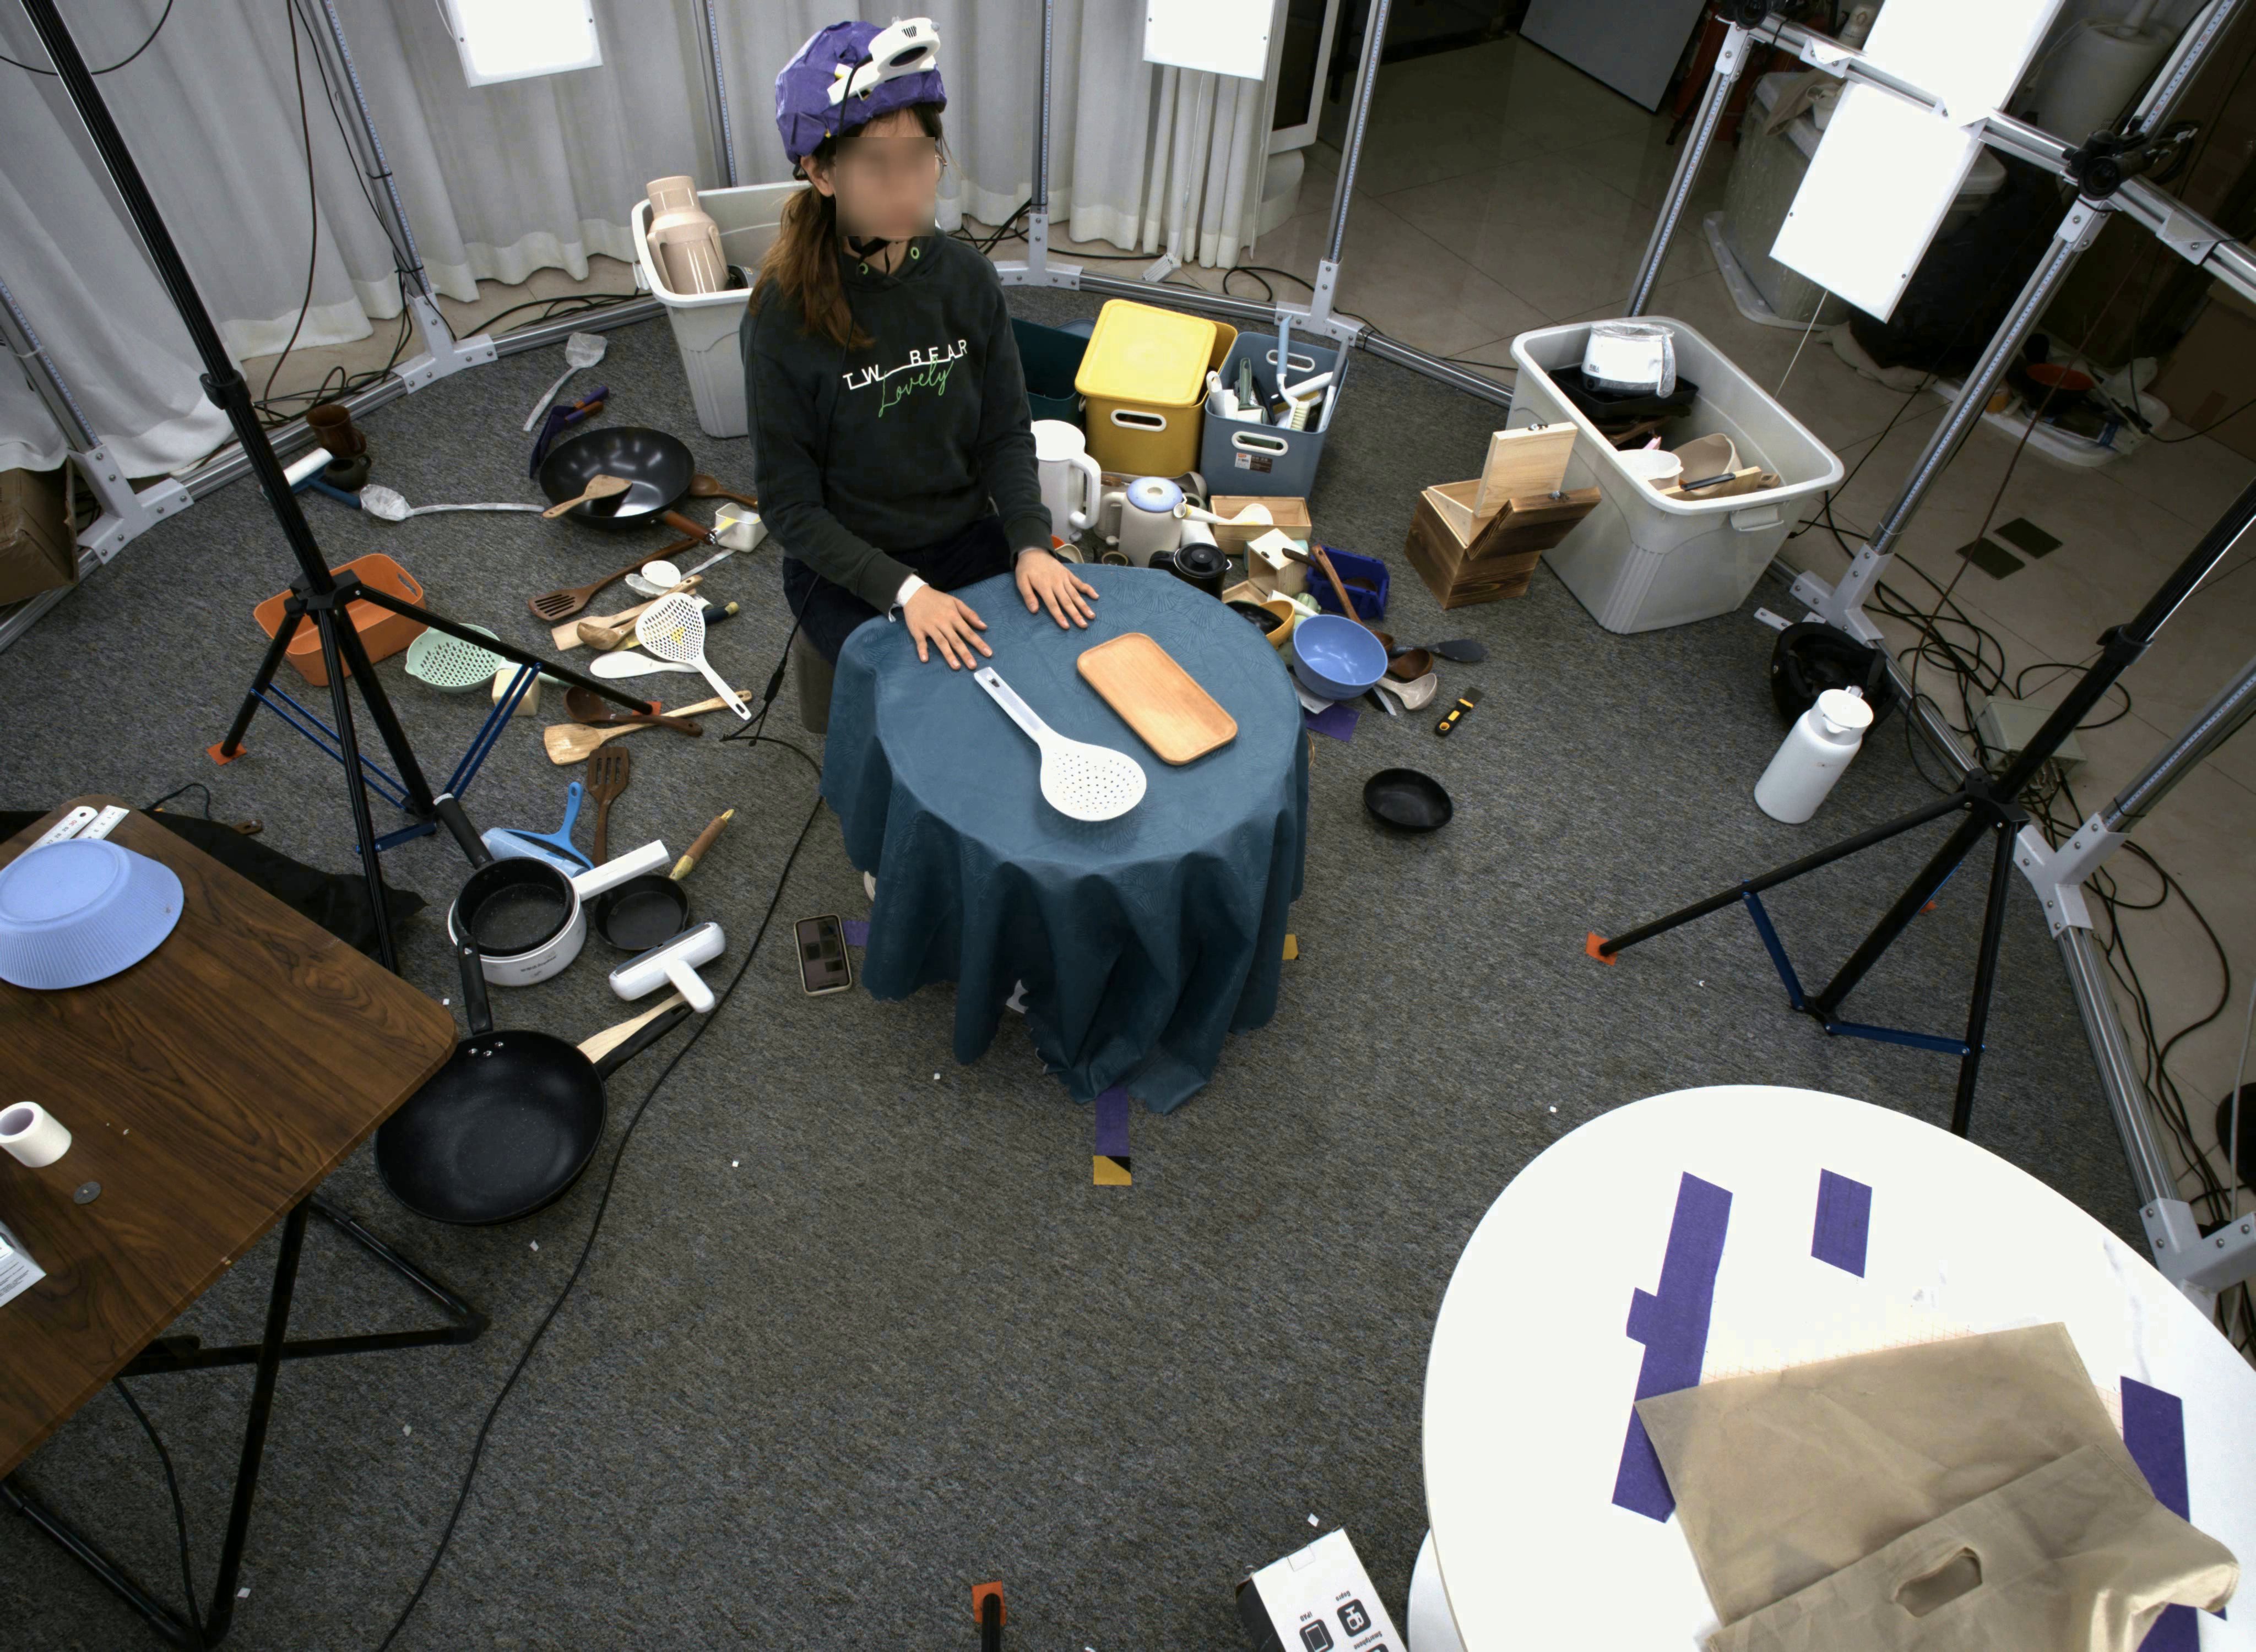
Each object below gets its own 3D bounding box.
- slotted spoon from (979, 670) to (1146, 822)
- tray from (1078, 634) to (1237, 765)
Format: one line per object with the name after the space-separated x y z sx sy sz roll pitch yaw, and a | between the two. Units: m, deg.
-0.107 -0.115 1.747 0.136 0.044 0.357 -24 54 -25 | slotted spoon
0.040 -0.183 1.836 0.131 0.022 0.255 -25 54 -25 | tray
